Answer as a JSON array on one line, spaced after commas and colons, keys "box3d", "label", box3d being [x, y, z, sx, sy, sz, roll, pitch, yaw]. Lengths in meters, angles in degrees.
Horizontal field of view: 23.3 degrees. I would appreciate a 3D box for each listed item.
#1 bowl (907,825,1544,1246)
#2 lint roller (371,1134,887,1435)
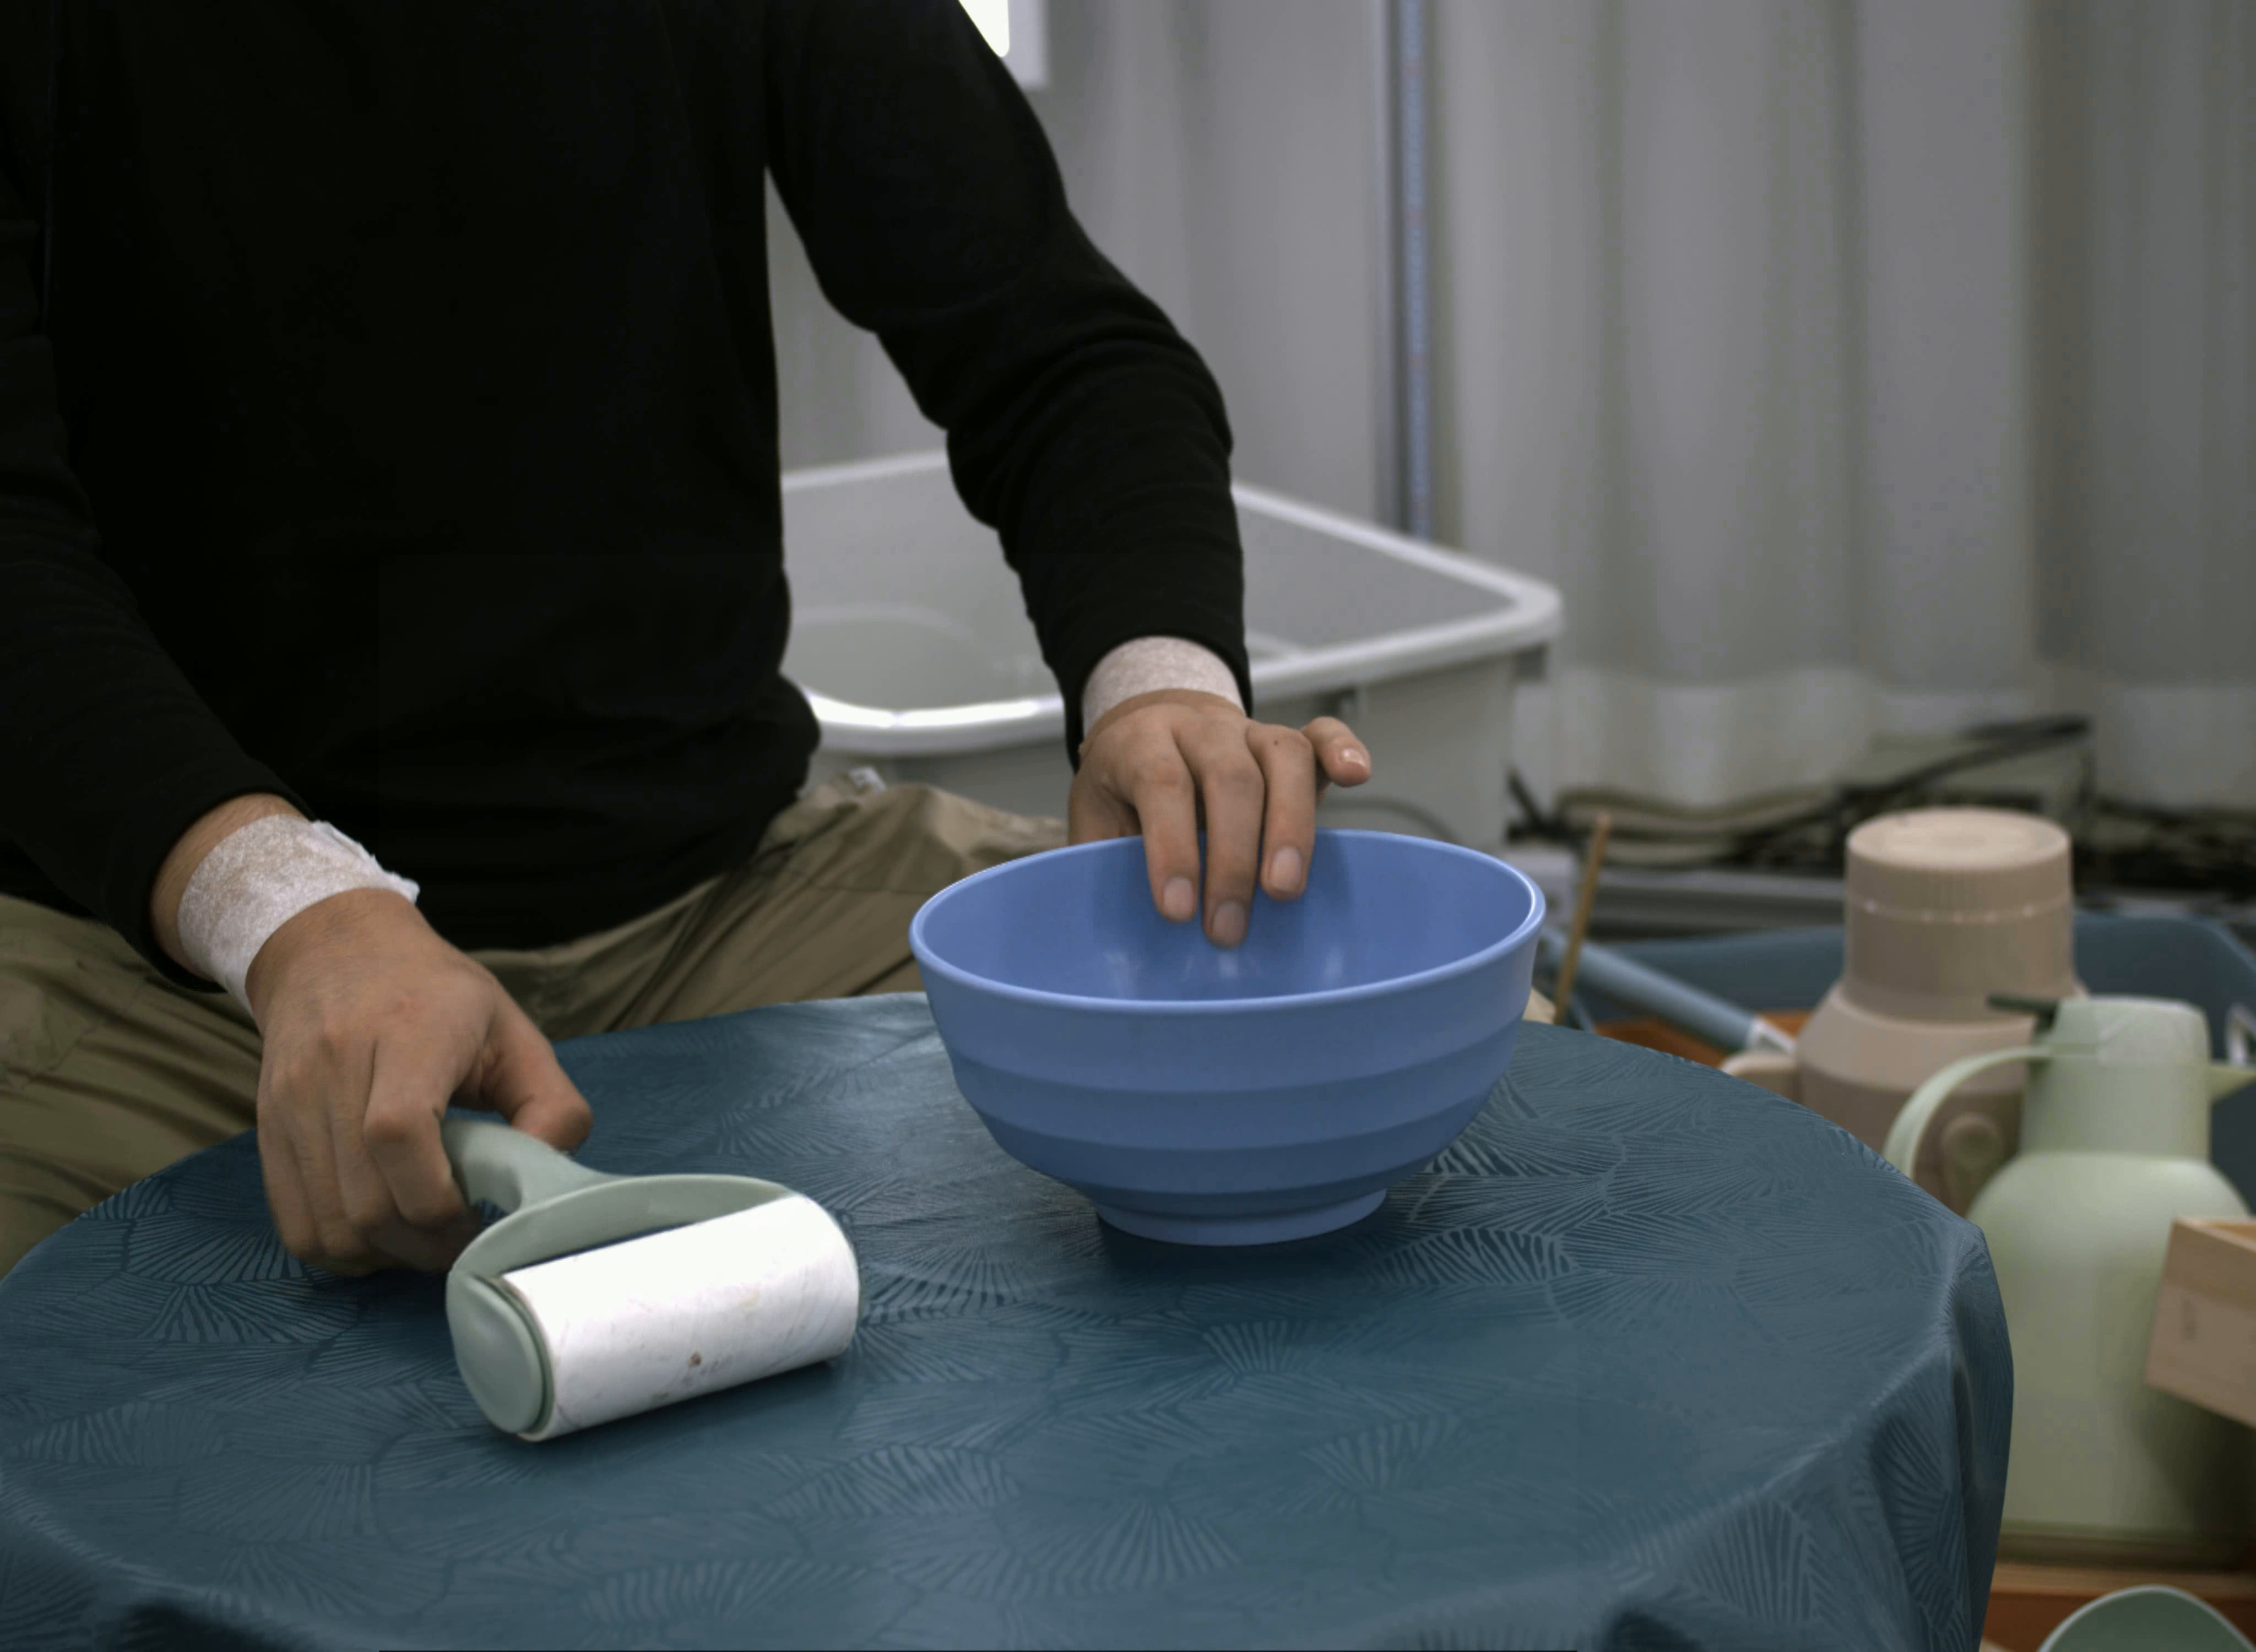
[{"box3d": [0.033, 0.070, 1.690, 0.196, 0.095, 0.198, -4, 15, 1], "label": "bowl"}, {"box3d": [-0.166, 0.119, 1.613, 0.116, 0.048, 0.199, -15, 24, -33], "label": "lint roller"}]
